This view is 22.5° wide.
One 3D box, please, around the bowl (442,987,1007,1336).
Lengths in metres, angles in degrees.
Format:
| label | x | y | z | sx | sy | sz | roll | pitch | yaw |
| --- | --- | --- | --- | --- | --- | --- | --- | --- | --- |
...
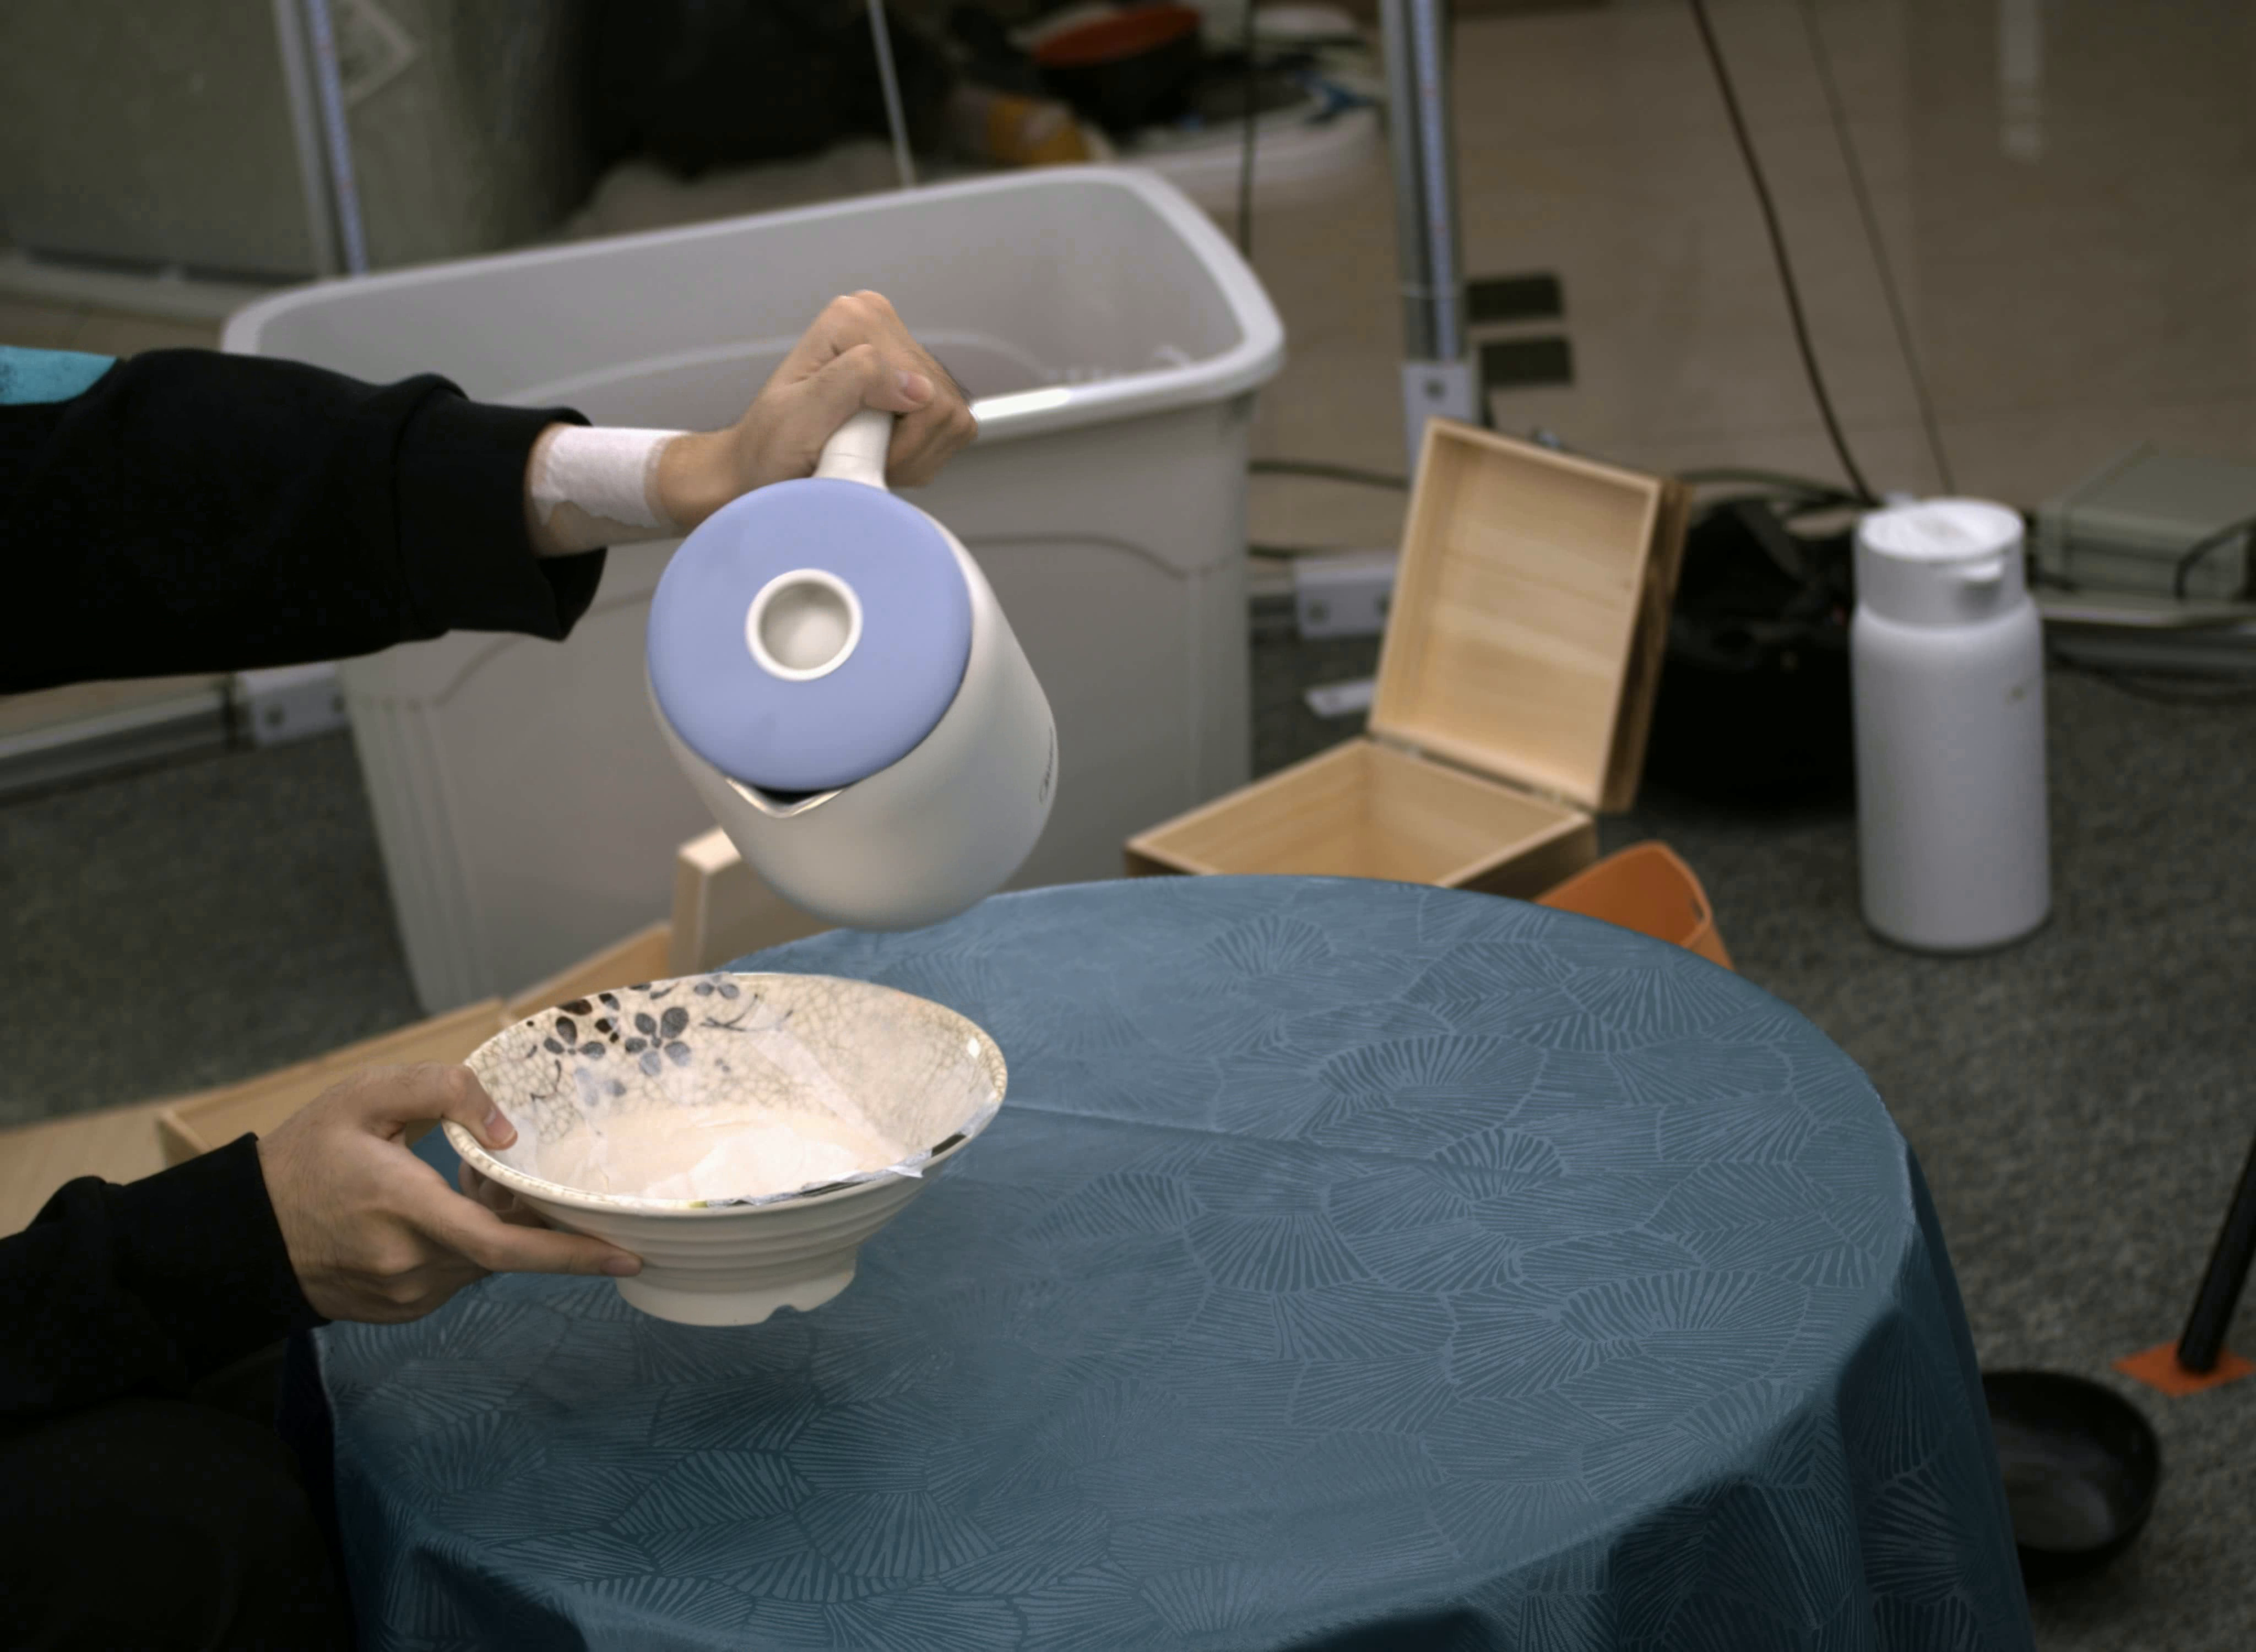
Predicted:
| label | x | y | z | sx | sy | sz | roll | pitch | yaw |
| --- | --- | --- | --- | --- | --- | --- | --- | --- | --- |
| bowl | -0.140 | 0.130 | 2.036 | 0.203 | 0.079 | 0.201 | -6 | 20 | 2 |

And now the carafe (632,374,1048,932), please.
| label | x | y | z | sx | sy | sz | roll | pitch | yaw |
| --- | --- | --- | --- | --- | --- | --- | --- | --- | --- |
| carafe | -0.103 | -0.068 | 2.085 | 0.132 | 0.189 | 0.184 | 3 | -17 | 9 |
